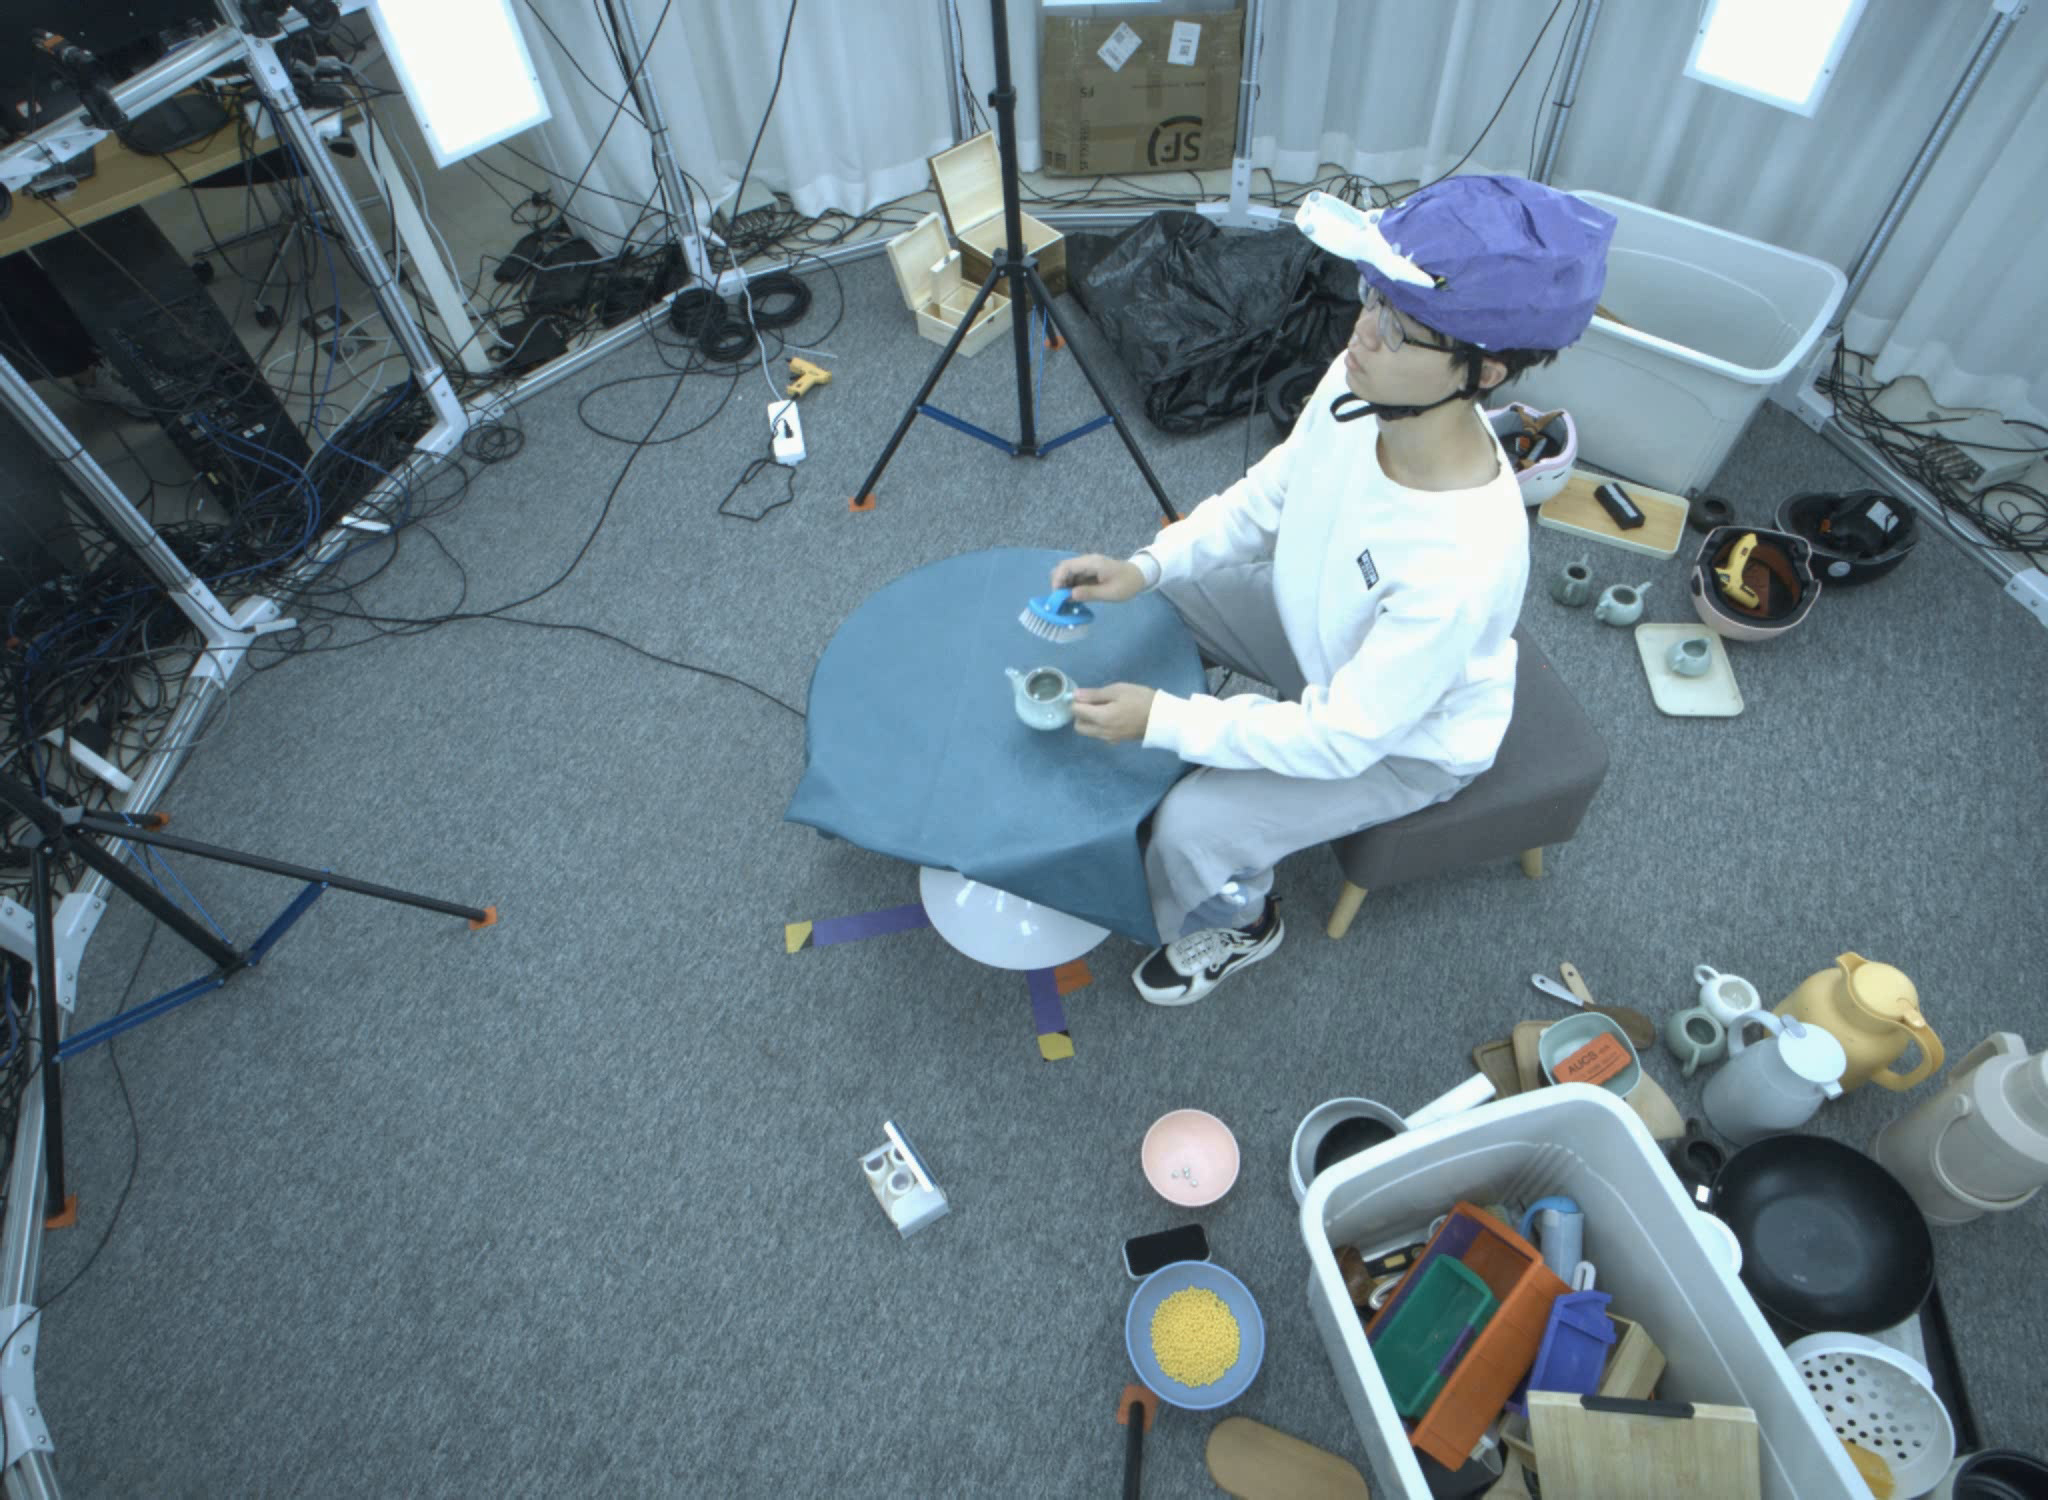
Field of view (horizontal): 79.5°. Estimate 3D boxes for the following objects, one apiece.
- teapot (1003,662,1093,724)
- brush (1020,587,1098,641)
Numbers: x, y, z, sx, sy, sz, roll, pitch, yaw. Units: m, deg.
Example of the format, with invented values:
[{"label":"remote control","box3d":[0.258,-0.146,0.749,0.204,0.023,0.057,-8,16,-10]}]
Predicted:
[{"label":"teapot","box3d":[0.035,-0.084,1.749,0.135,0.062,0.096,20,59,17]},{"label":"brush","box3d":[0.055,-0.200,1.752,0.083,0.064,0.143,28,20,19]}]
